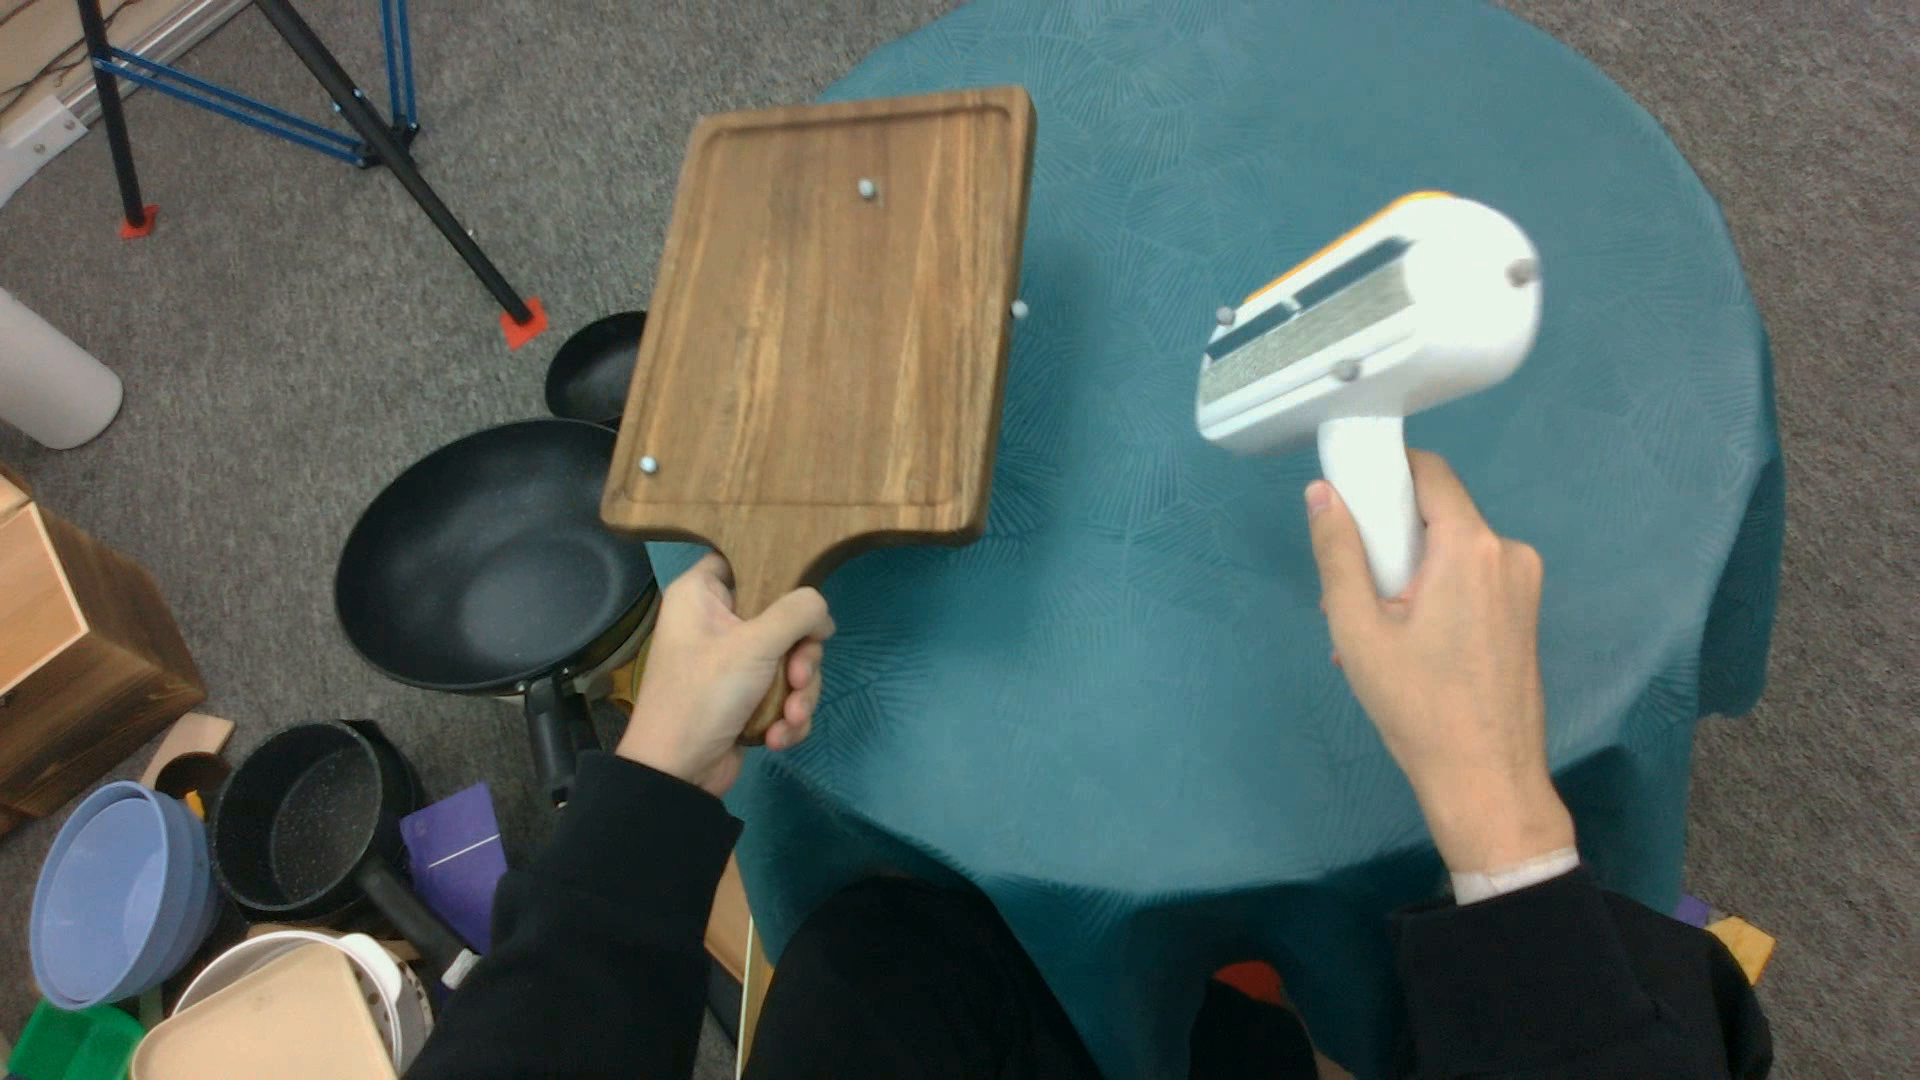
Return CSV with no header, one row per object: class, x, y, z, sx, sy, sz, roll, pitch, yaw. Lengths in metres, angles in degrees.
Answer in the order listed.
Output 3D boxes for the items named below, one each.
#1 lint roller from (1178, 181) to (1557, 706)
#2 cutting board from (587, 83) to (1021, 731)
lint roller,0.160,-0.029,0.558,0.074,0.192,0.192,4,85,-27
cutting board,-0.081,-0.078,0.685,0.201,0.023,0.353,0,66,16
